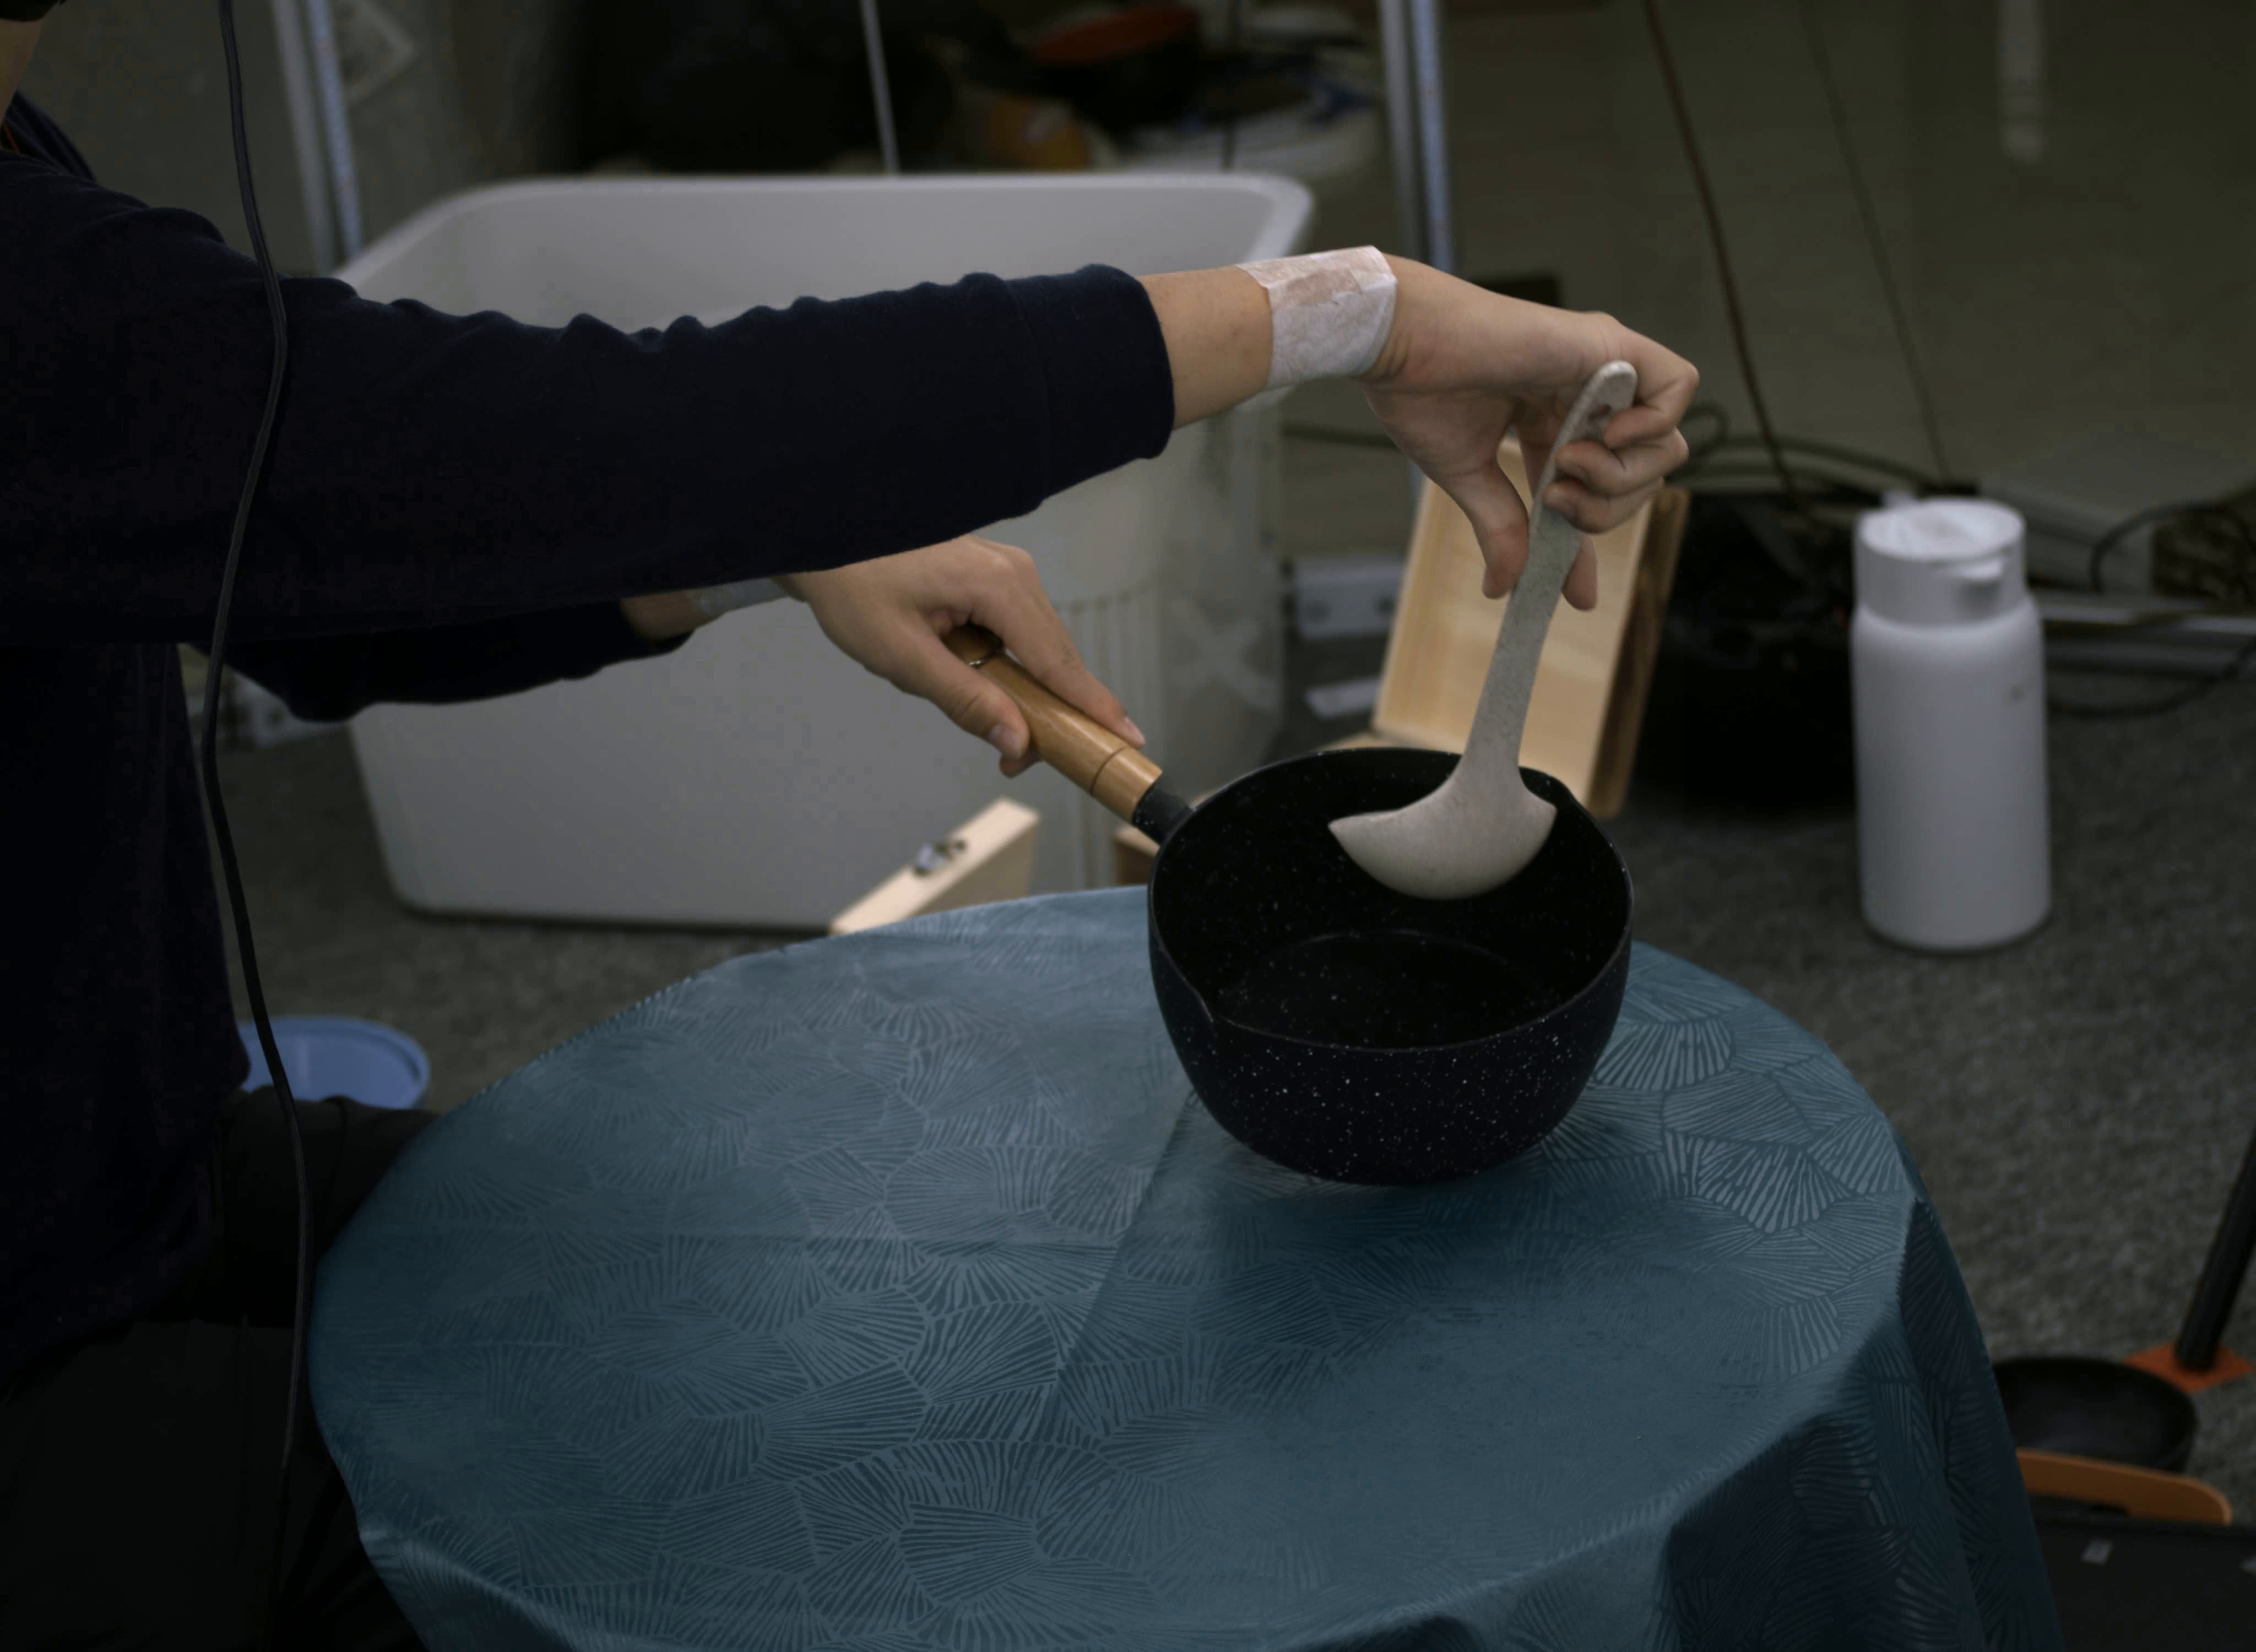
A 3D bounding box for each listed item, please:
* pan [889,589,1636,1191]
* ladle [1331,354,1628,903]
[{"bbox_3d":[0.038,0.018,2.189,0.340,0.110,0.205,28,48,29],"label":"pan"},{"bbox_3d":[0.139,-0.082,2.096,0.089,0.280,0.068,-3,43,-17],"label":"ladle"}]
